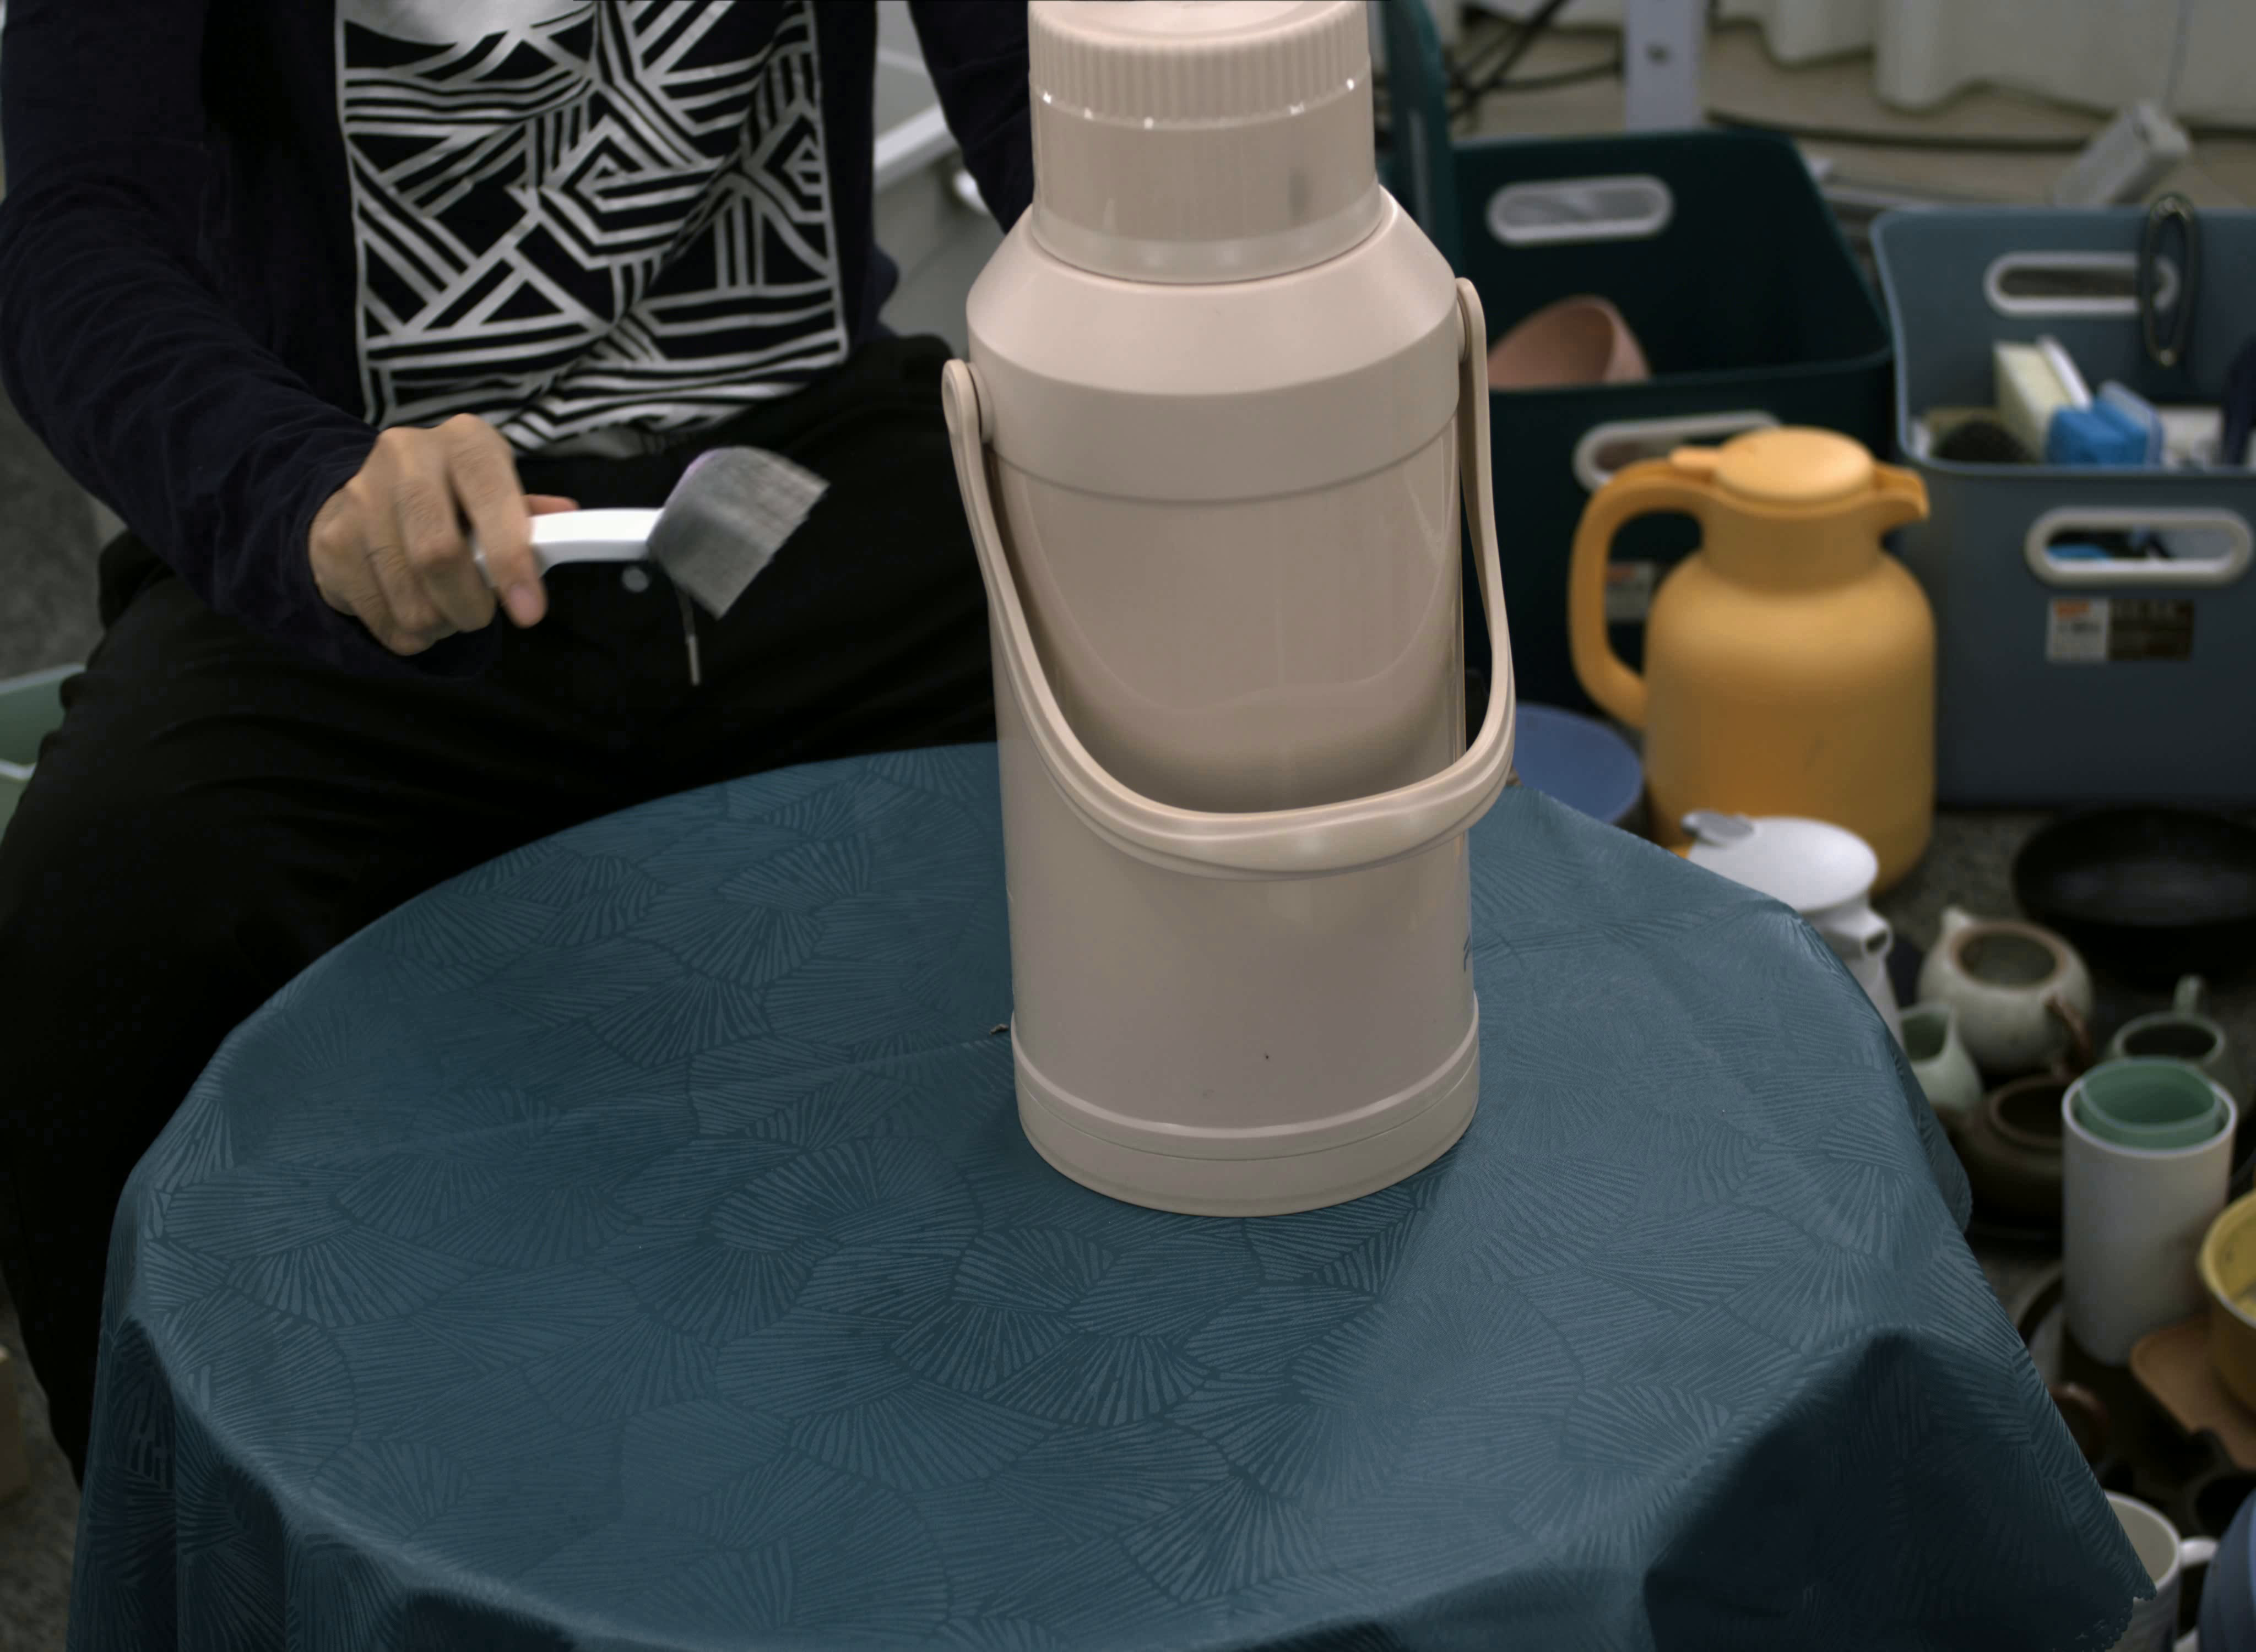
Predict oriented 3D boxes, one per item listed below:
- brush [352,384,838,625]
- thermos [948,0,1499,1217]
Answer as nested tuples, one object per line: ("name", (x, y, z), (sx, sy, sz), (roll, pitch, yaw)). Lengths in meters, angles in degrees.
("brush", (-0.170, -0.087, 1.792), (0.240, 0.050, 0.035), (-19, 34, 50))
("thermos", (0.031, -0.090, 1.839), (0.175, 0.402, 0.209), (-12, 27, -14))
